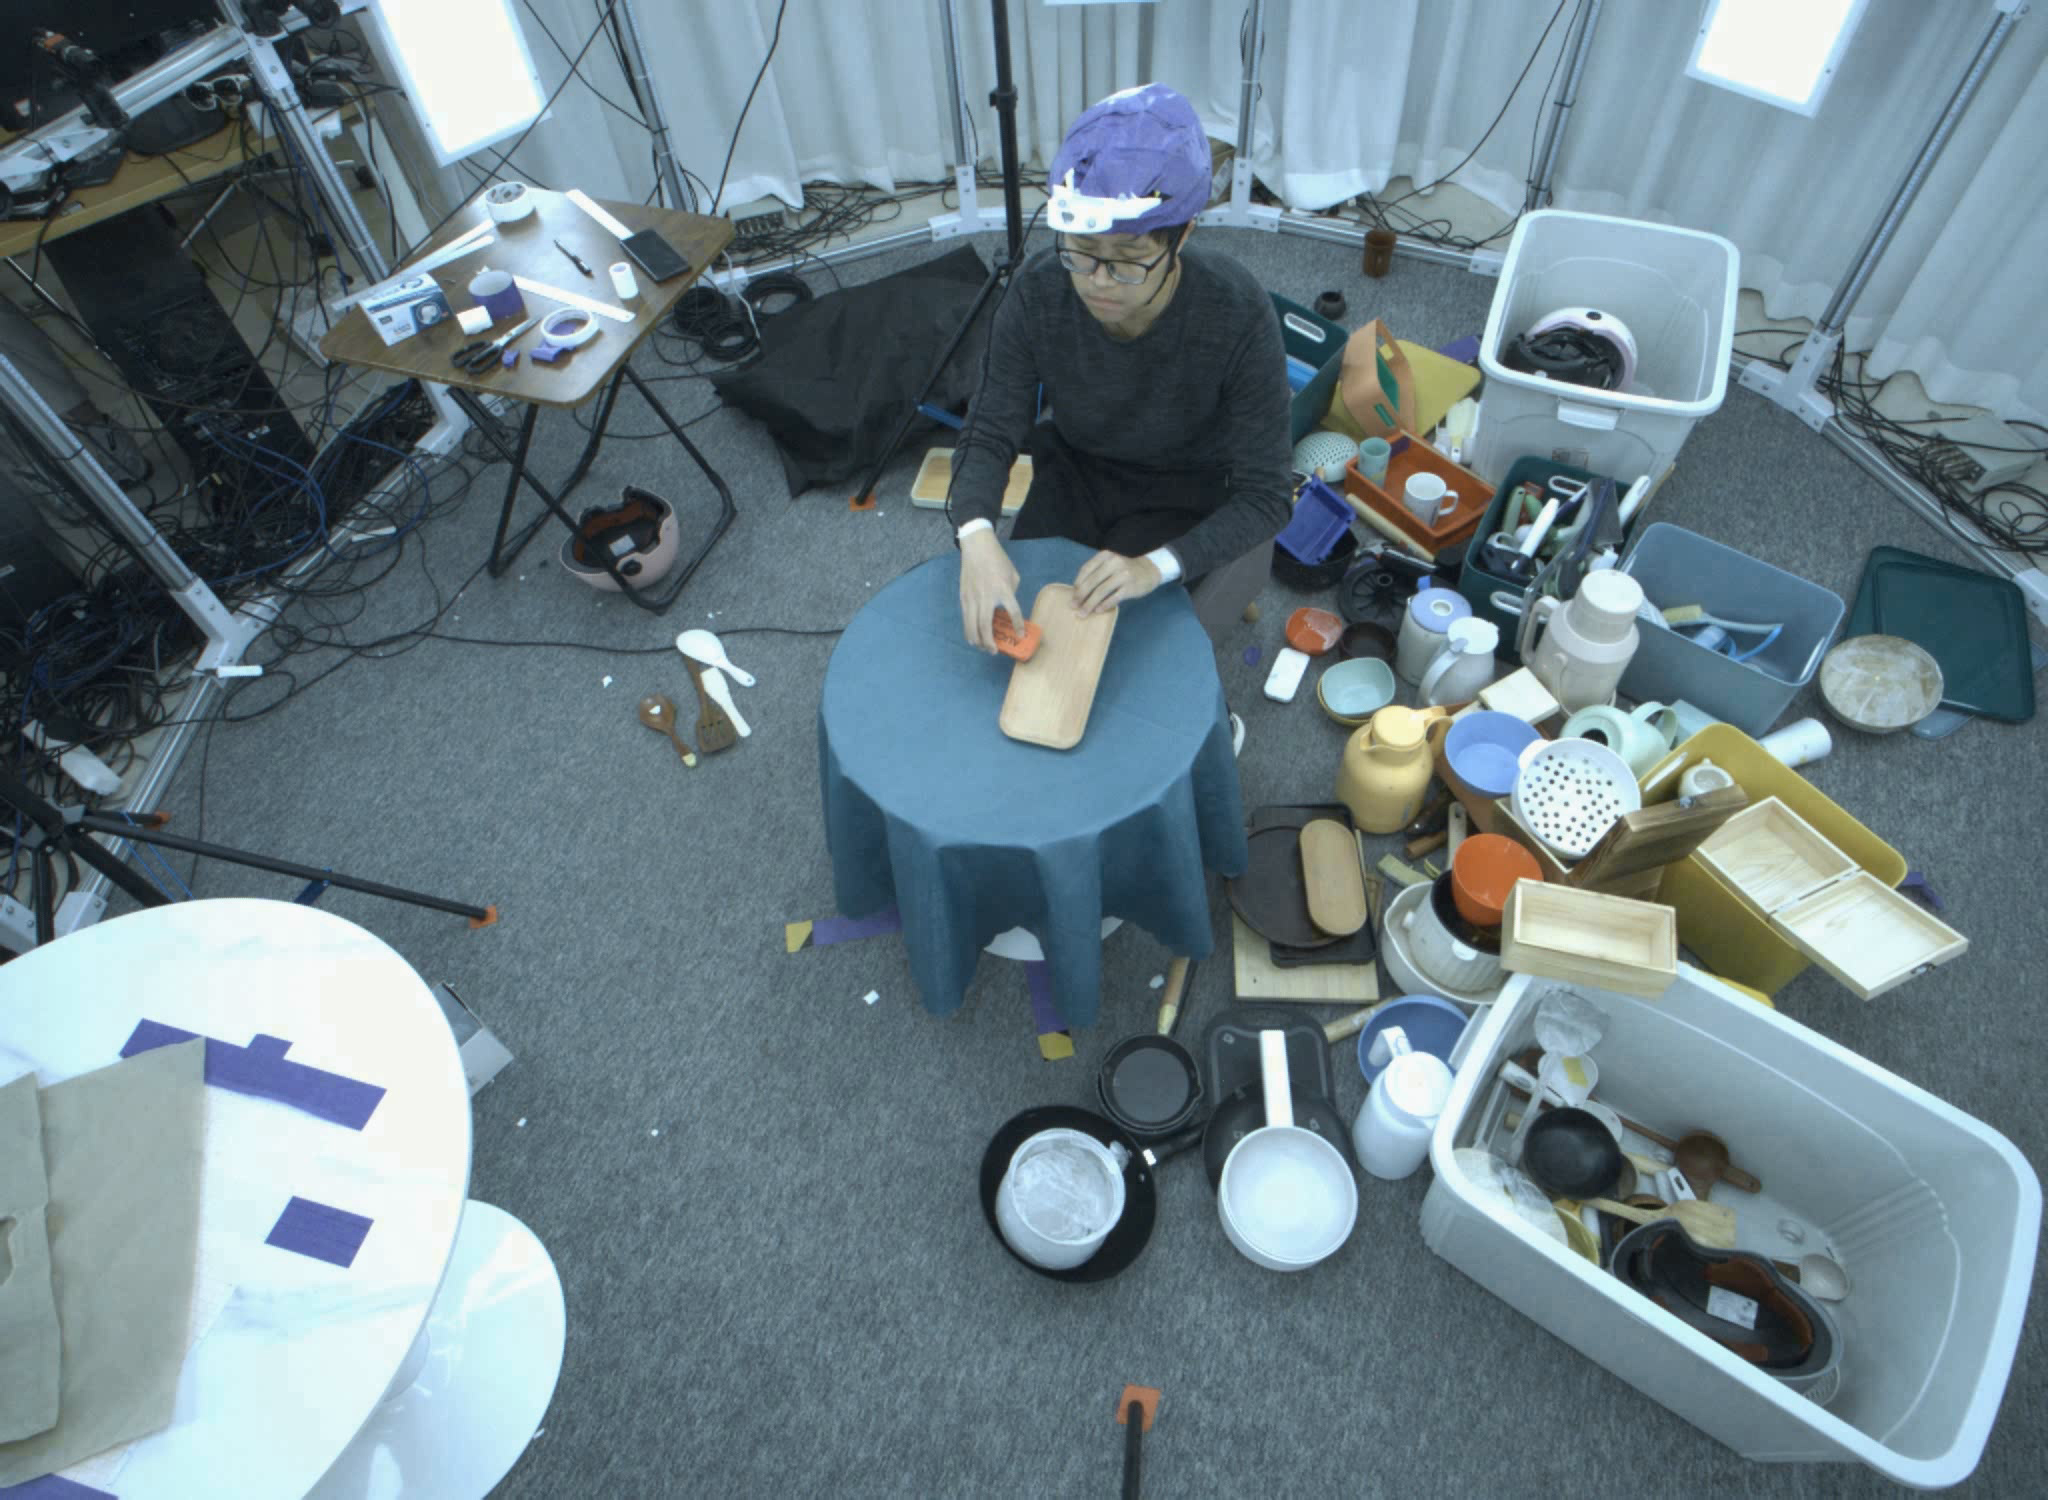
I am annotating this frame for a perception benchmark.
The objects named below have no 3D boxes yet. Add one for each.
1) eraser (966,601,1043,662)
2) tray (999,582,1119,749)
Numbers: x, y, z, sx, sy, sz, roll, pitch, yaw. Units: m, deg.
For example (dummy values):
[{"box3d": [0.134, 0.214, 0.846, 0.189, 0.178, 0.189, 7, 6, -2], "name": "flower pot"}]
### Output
[{"box3d": [-0.029, -0.177, 1.825, 0.106, 0.023, 0.059, 27, 79, 20], "name": "eraser"}, {"box3d": [0.052, -0.126, 1.815, 0.129, 0.023, 0.250, 16, 76, 10], "name": "tray"}]
